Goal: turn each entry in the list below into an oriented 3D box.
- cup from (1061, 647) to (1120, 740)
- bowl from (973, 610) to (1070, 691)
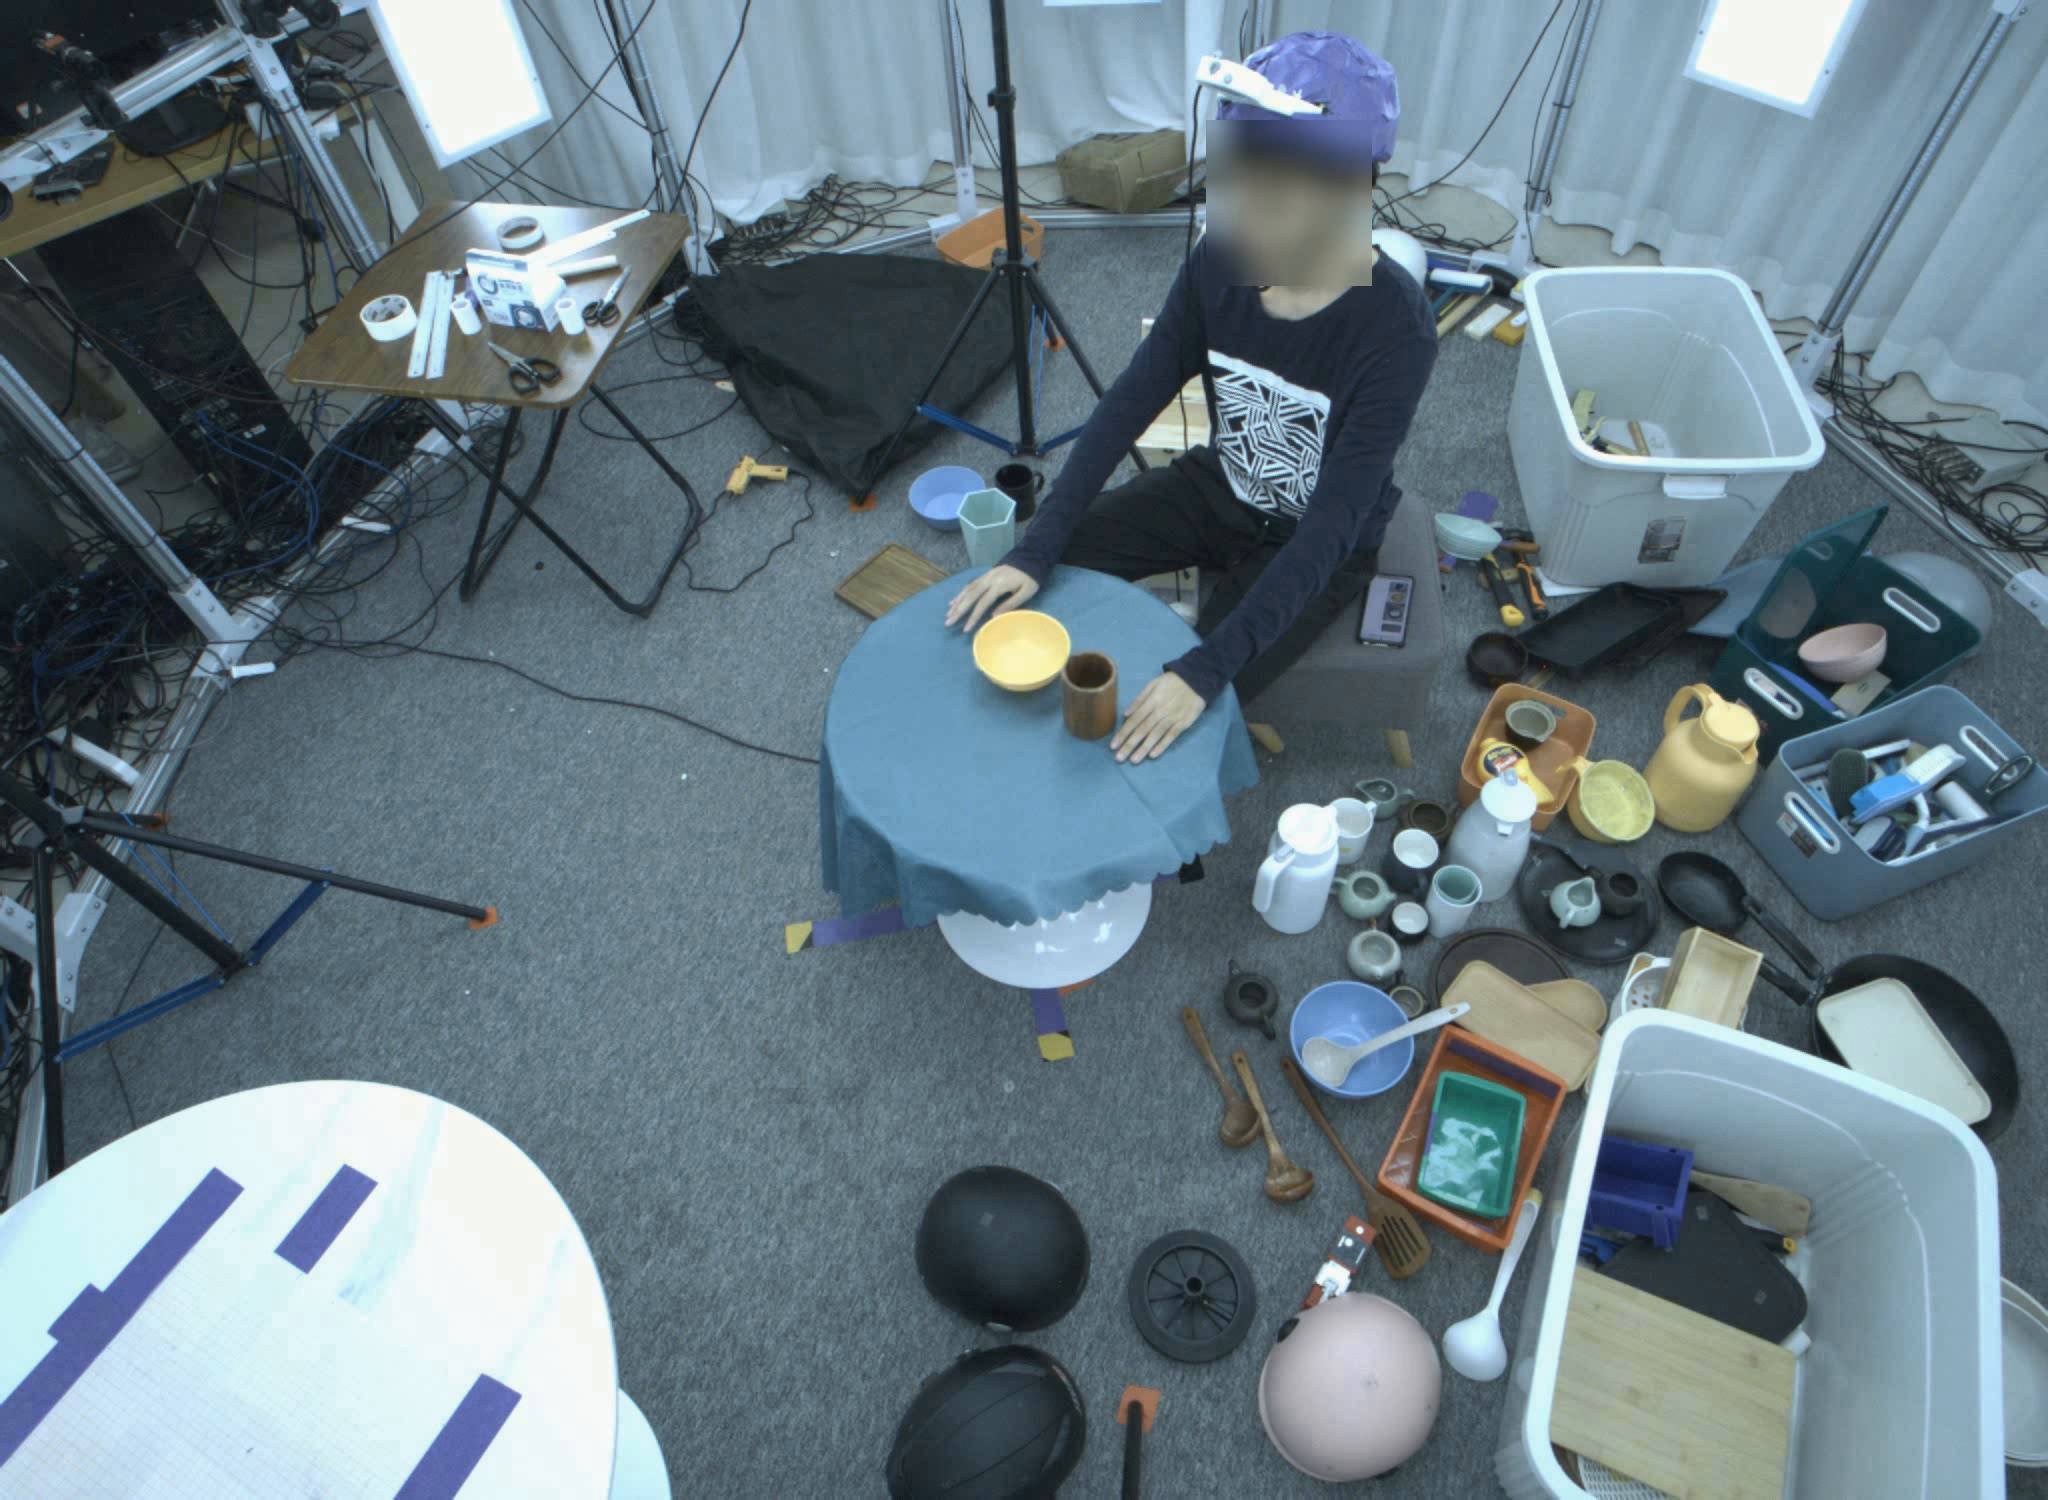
[{"bbox_3d":[0.093,-0.081,1.762,0.088,0.119,0.087,0,55,1],"label":"cup"},{"bbox_3d":[-0.003,-0.137,1.843,0.145,0.060,0.144,1,54,0],"label":"bowl"}]
